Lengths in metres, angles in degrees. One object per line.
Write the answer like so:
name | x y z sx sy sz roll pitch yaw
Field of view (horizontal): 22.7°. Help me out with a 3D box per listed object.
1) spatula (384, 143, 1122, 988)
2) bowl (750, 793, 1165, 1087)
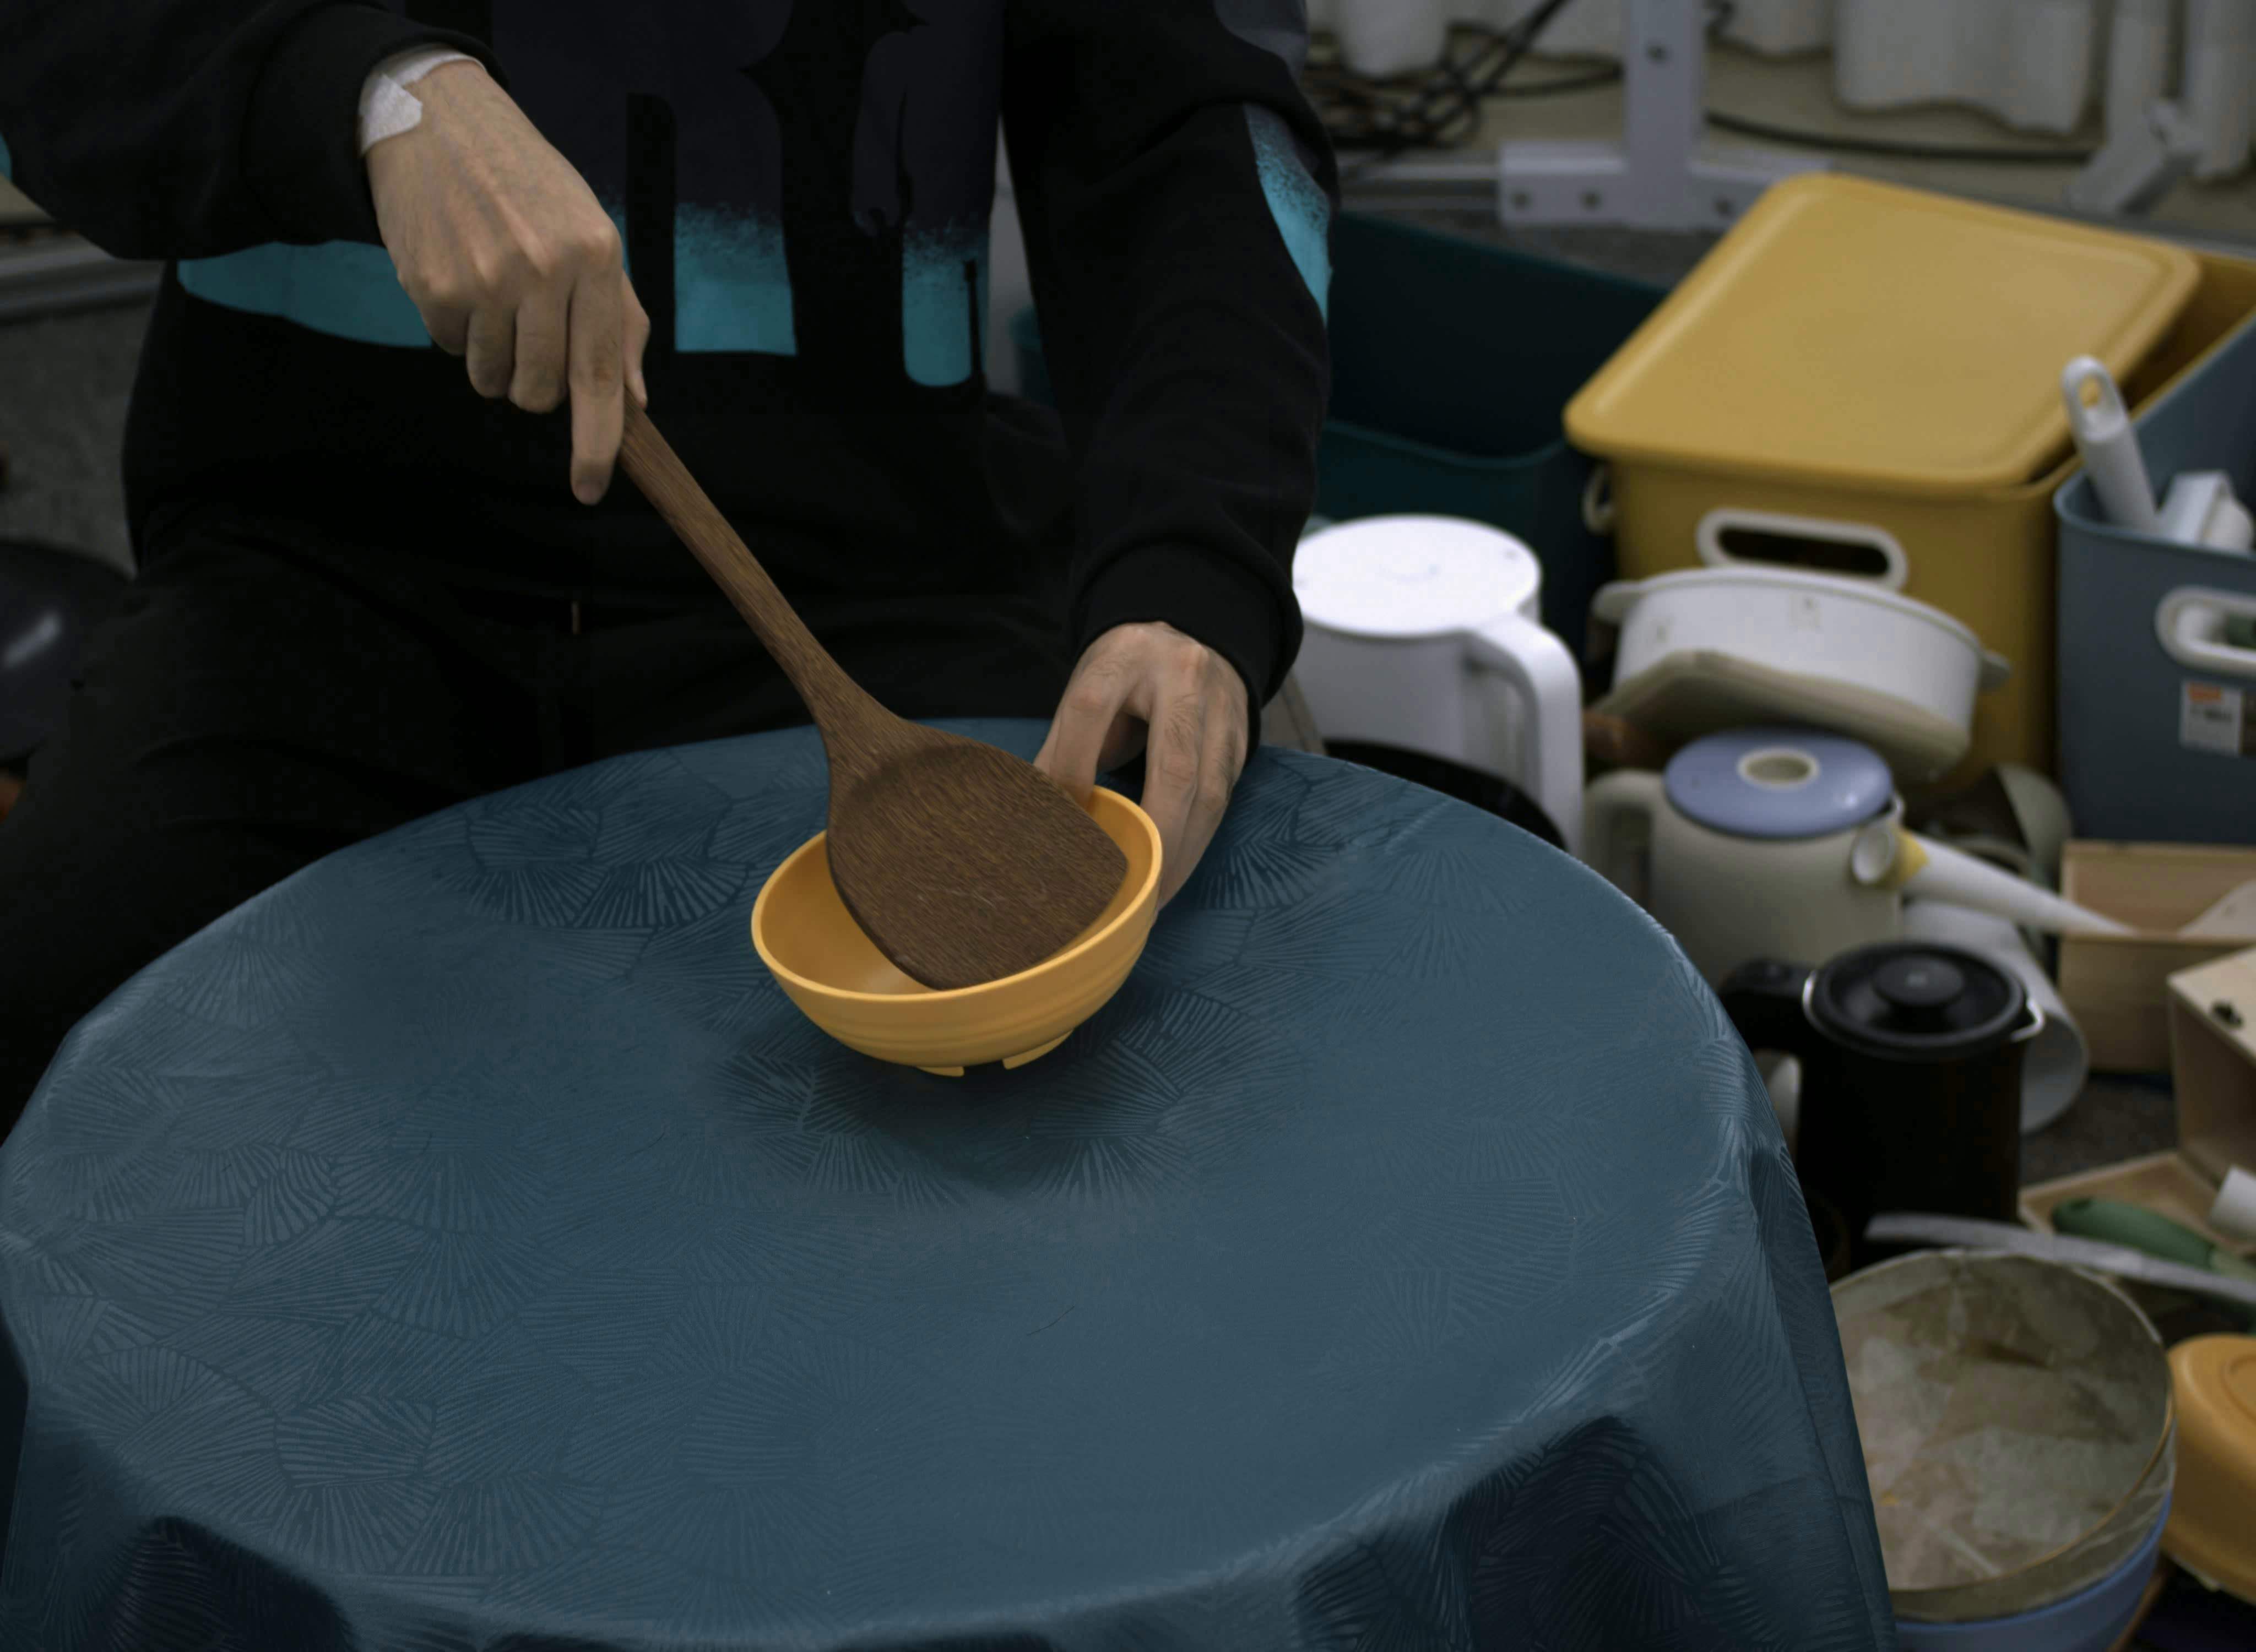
spatula | -0.145 -0.099 1.954 0.097 0.015 0.388 -29 71 -29
bowl | -0.055 0.048 1.941 0.144 0.059 0.147 -7 27 4
